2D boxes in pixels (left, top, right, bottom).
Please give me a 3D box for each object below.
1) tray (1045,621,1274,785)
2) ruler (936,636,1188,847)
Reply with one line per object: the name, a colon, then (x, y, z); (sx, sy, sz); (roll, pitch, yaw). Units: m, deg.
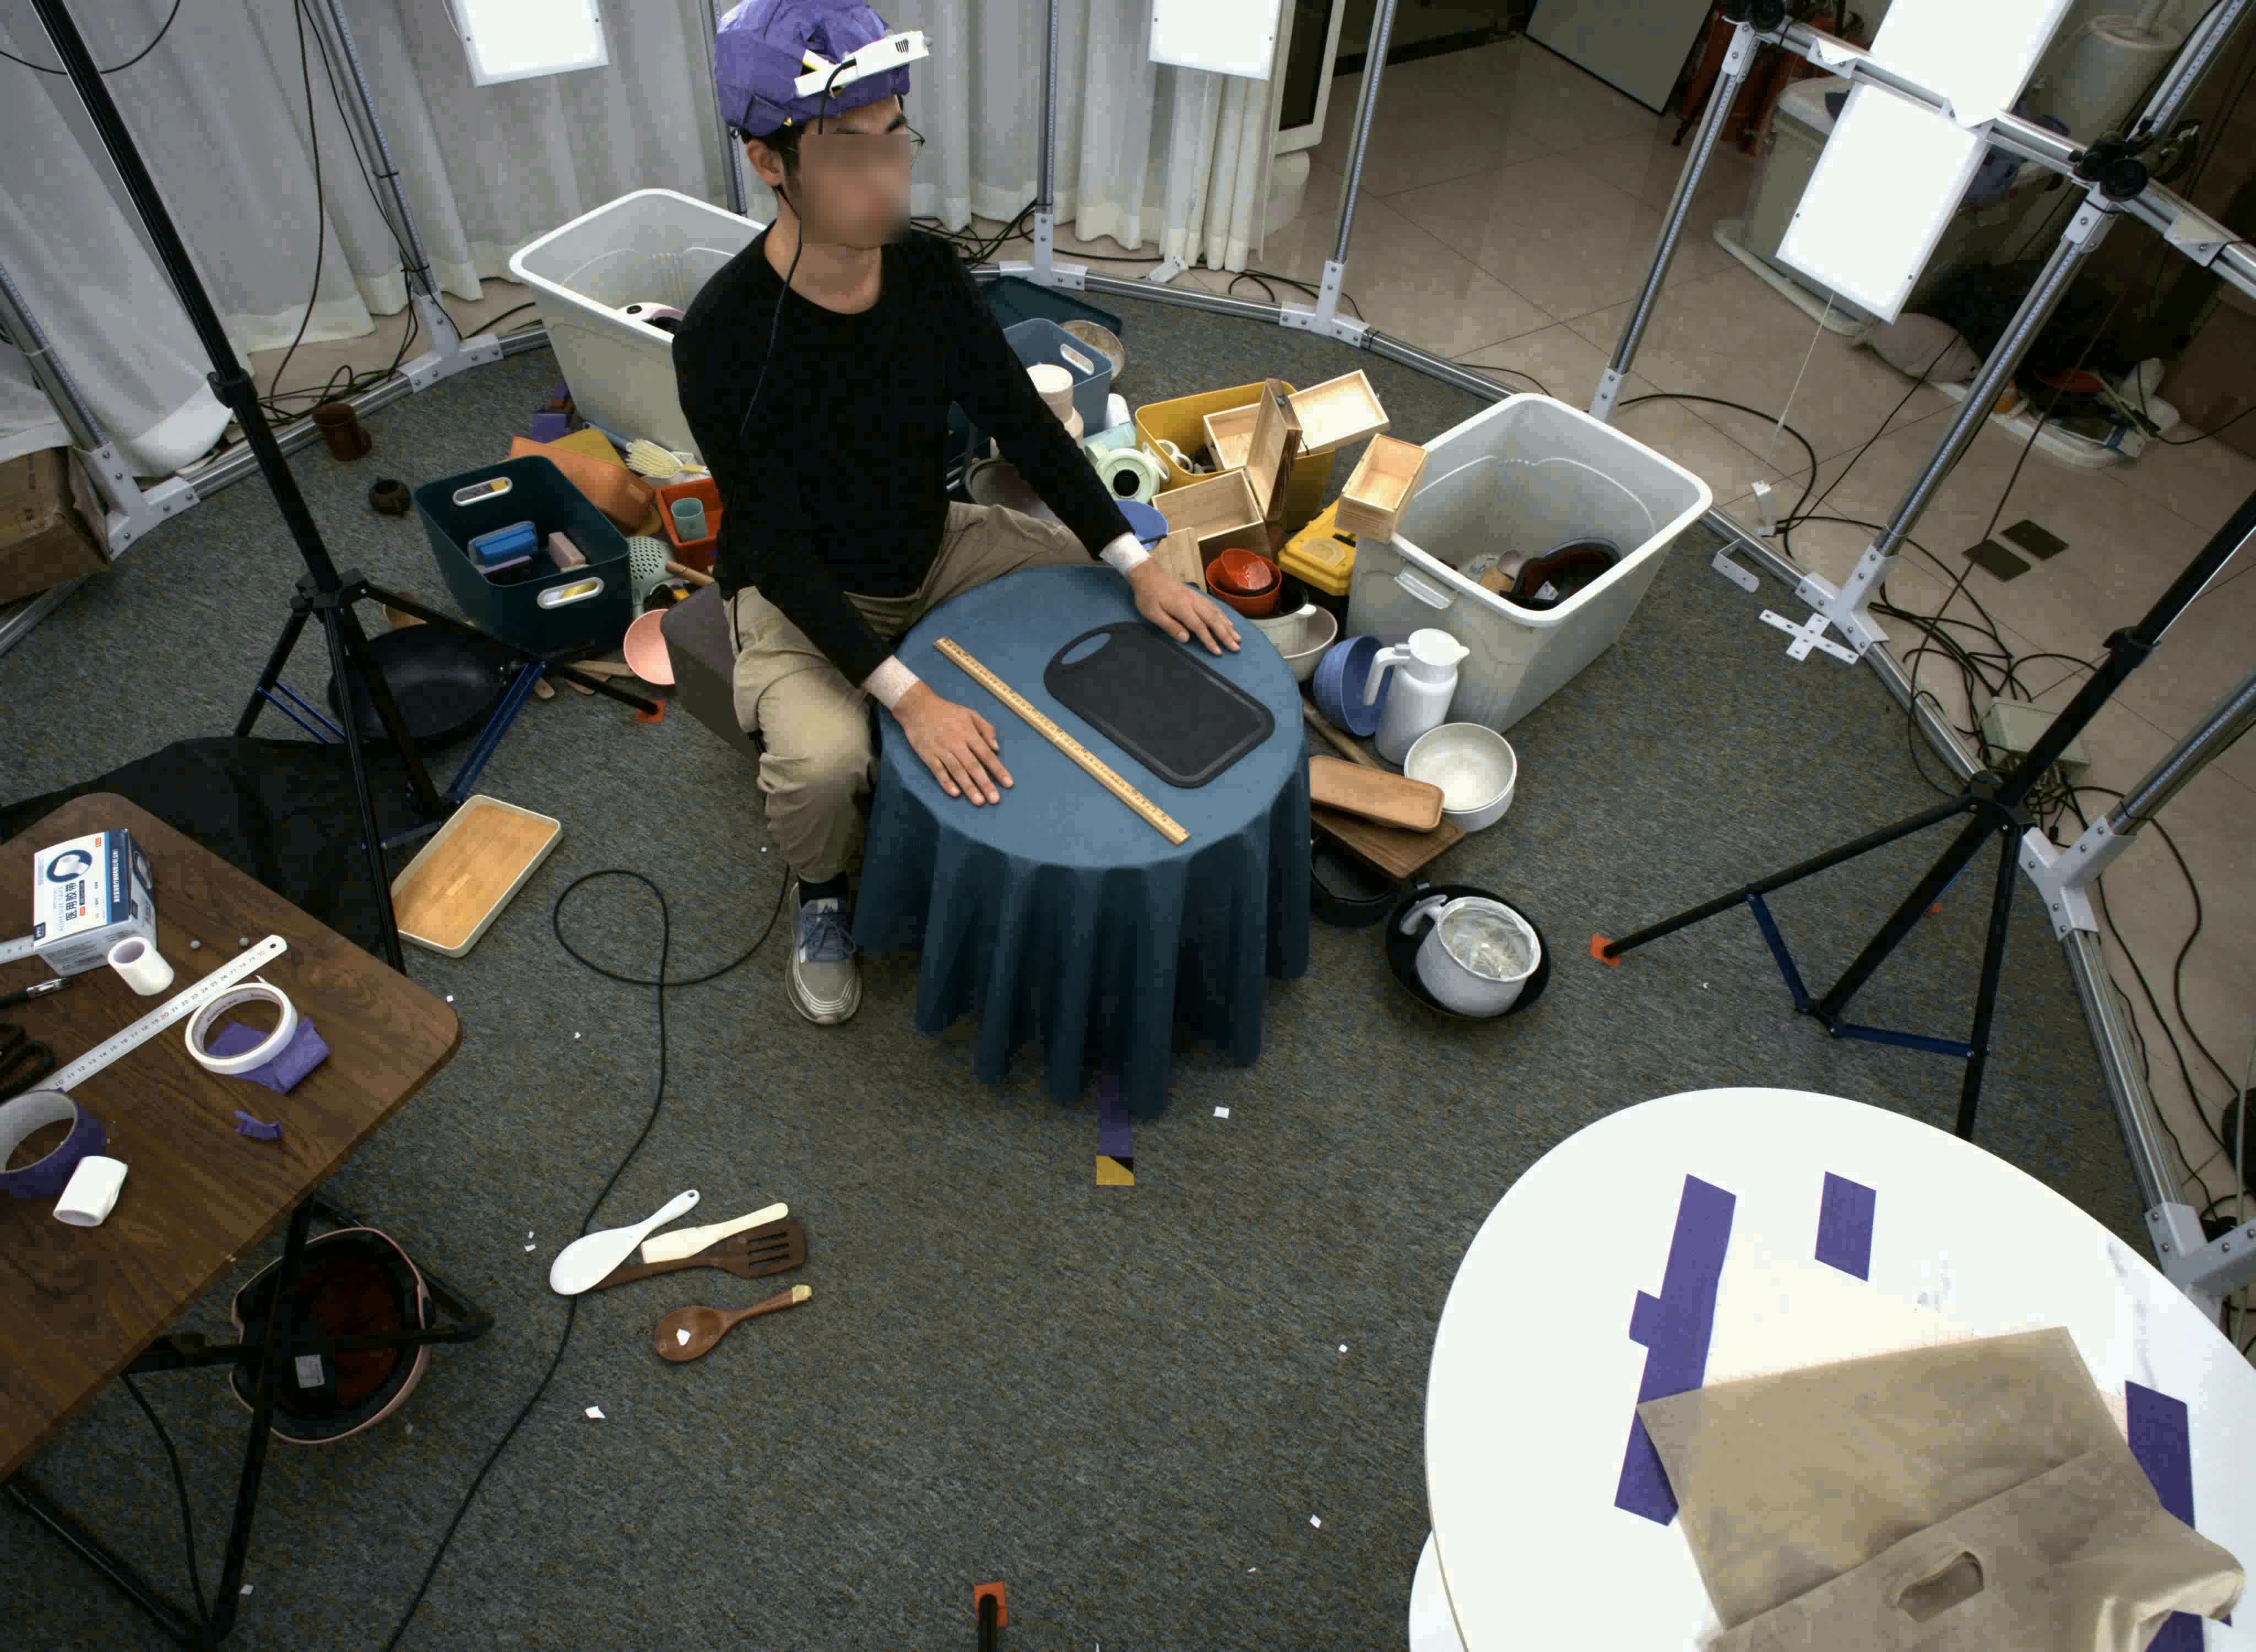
tray: (0.037, -0.186, 1.829); (0.213, 0.009, 0.330); (-35, 59, -29)
ruler: (-0.100, -0.127, 1.770); (0.027, 0.006, 0.508); (-33, 58, -29)
